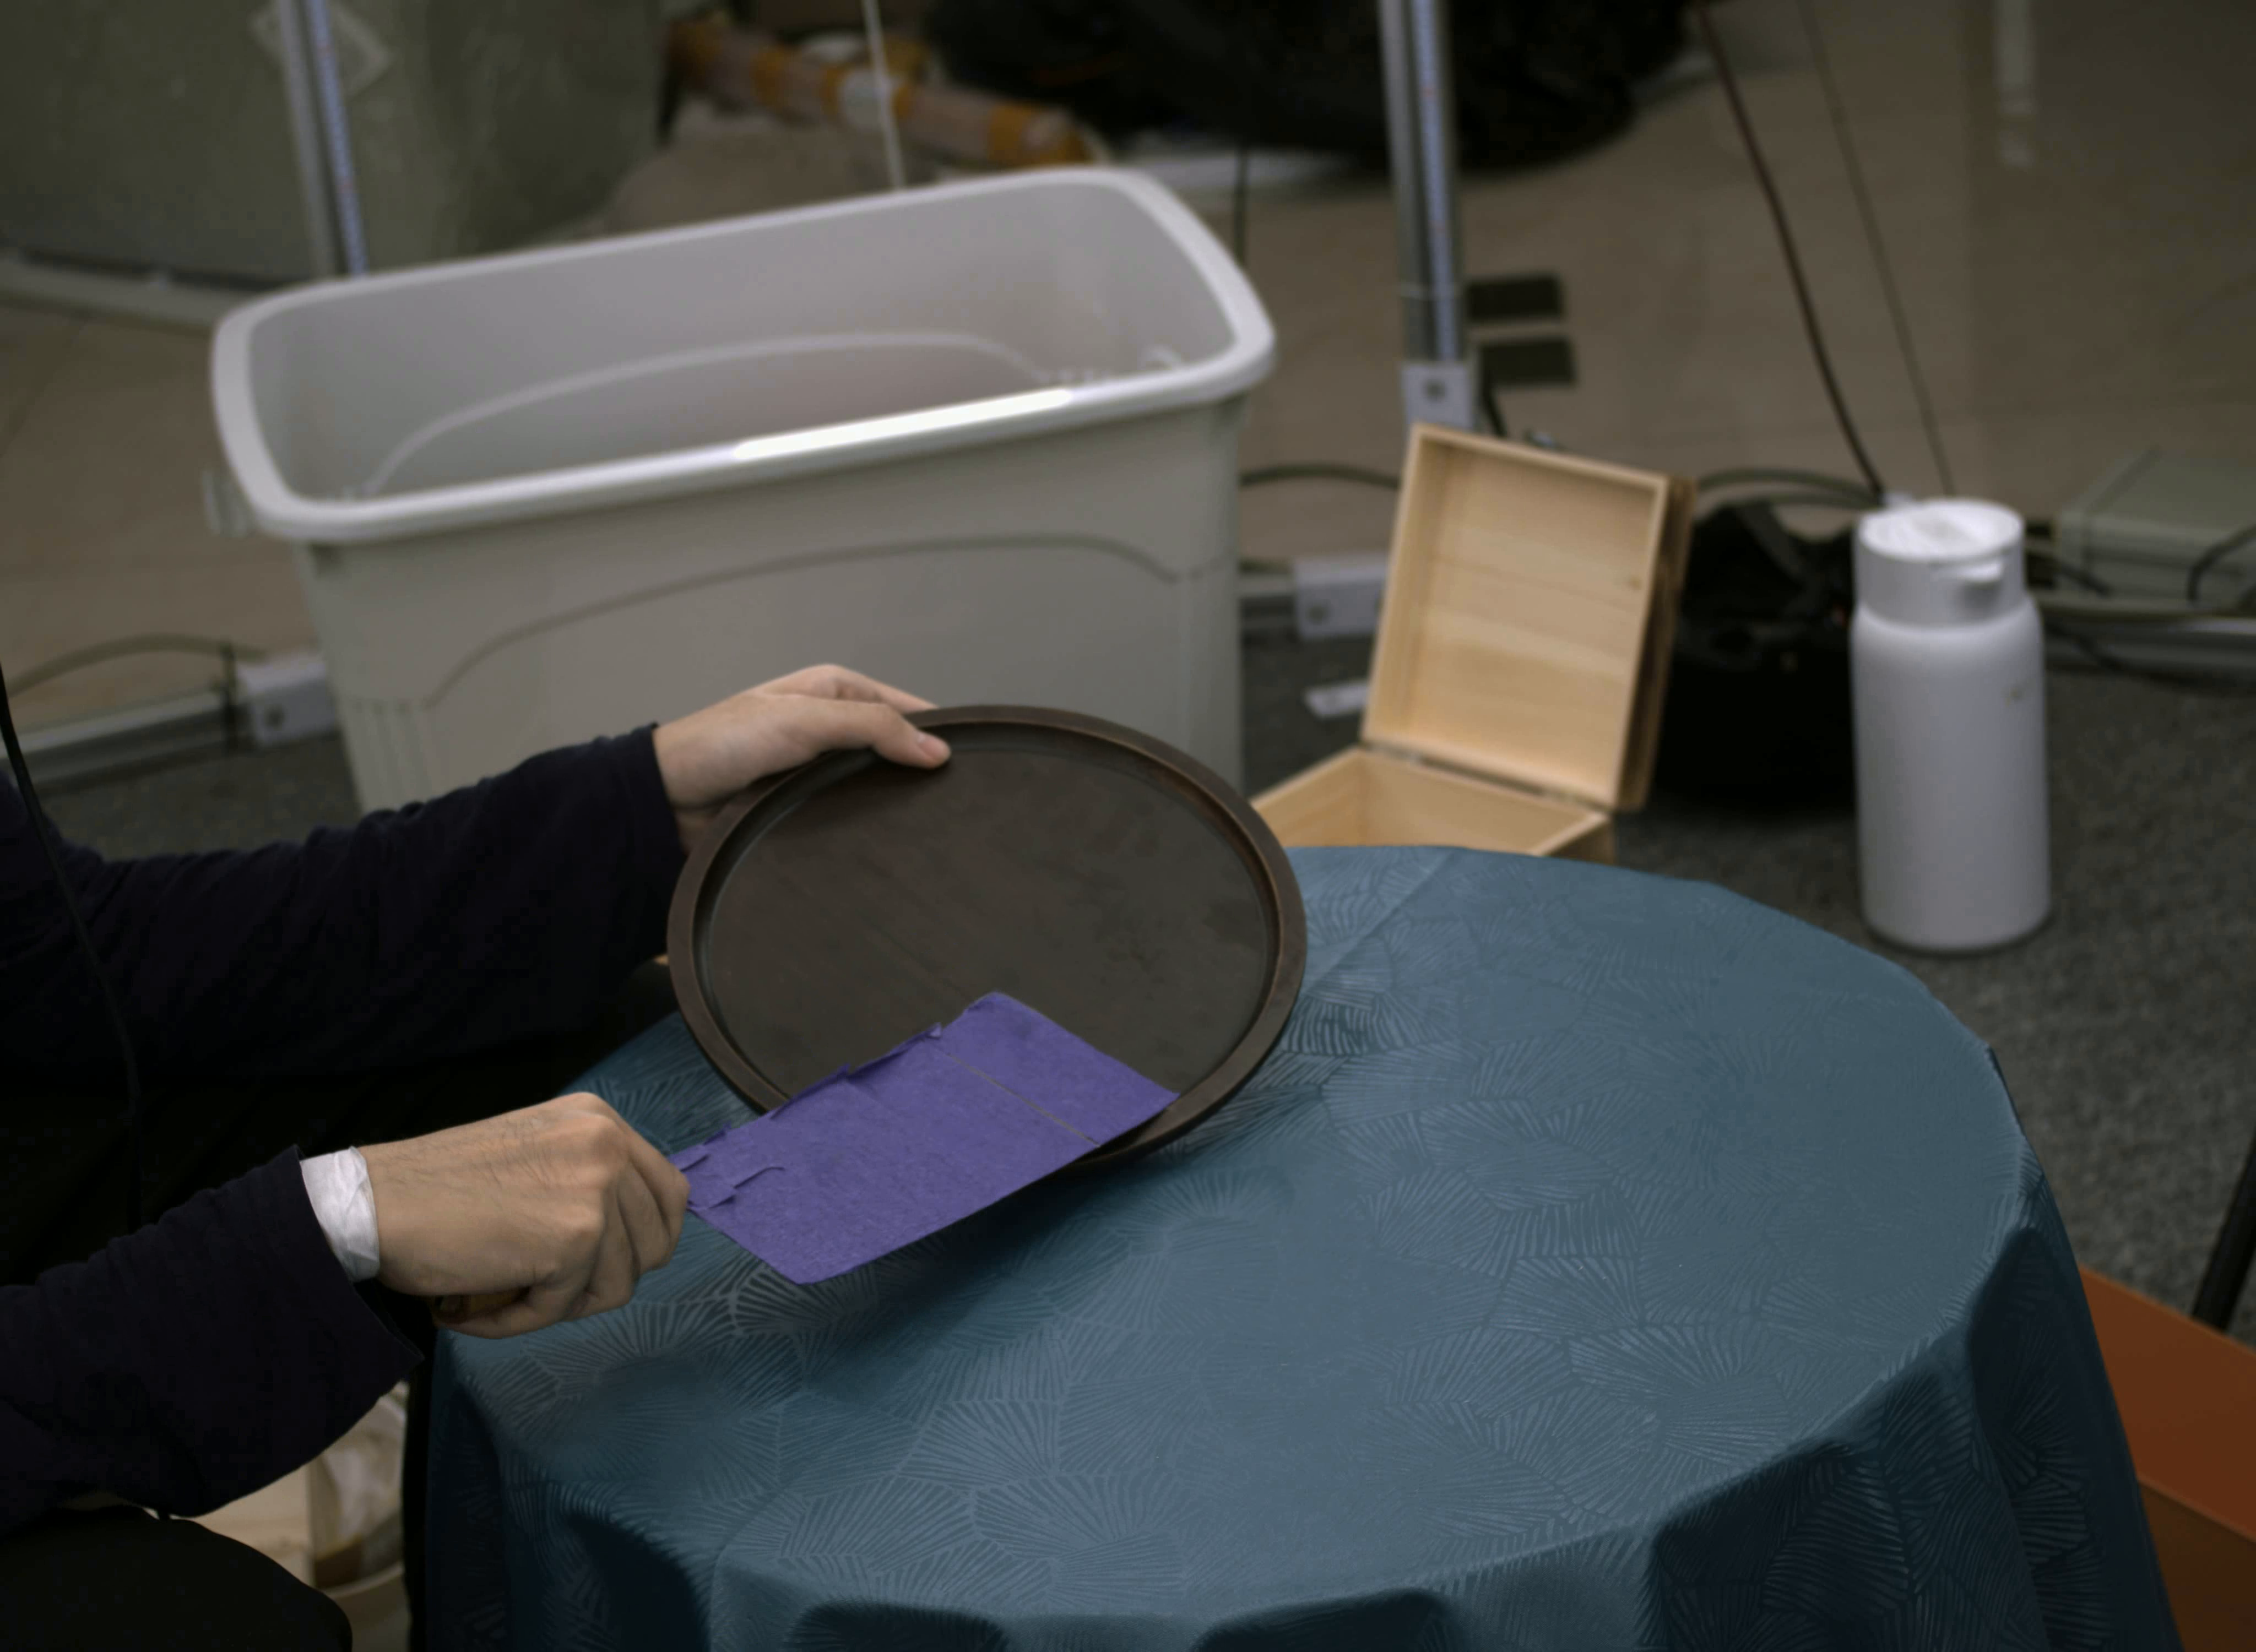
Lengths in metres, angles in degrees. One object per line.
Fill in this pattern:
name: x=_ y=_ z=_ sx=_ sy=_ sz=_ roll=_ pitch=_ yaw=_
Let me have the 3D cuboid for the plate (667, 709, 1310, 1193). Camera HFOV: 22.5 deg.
plate: x=-0.055 y=0.048 z=2.233 sx=0.254 sy=0.029 sz=0.250 roll=1 pitch=48 yaw=-1

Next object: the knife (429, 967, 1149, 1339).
knife: x=-0.115 y=0.127 z=2.088 sx=0.103 sy=0.033 sz=0.312 roll=30 pitch=39 yaw=29
